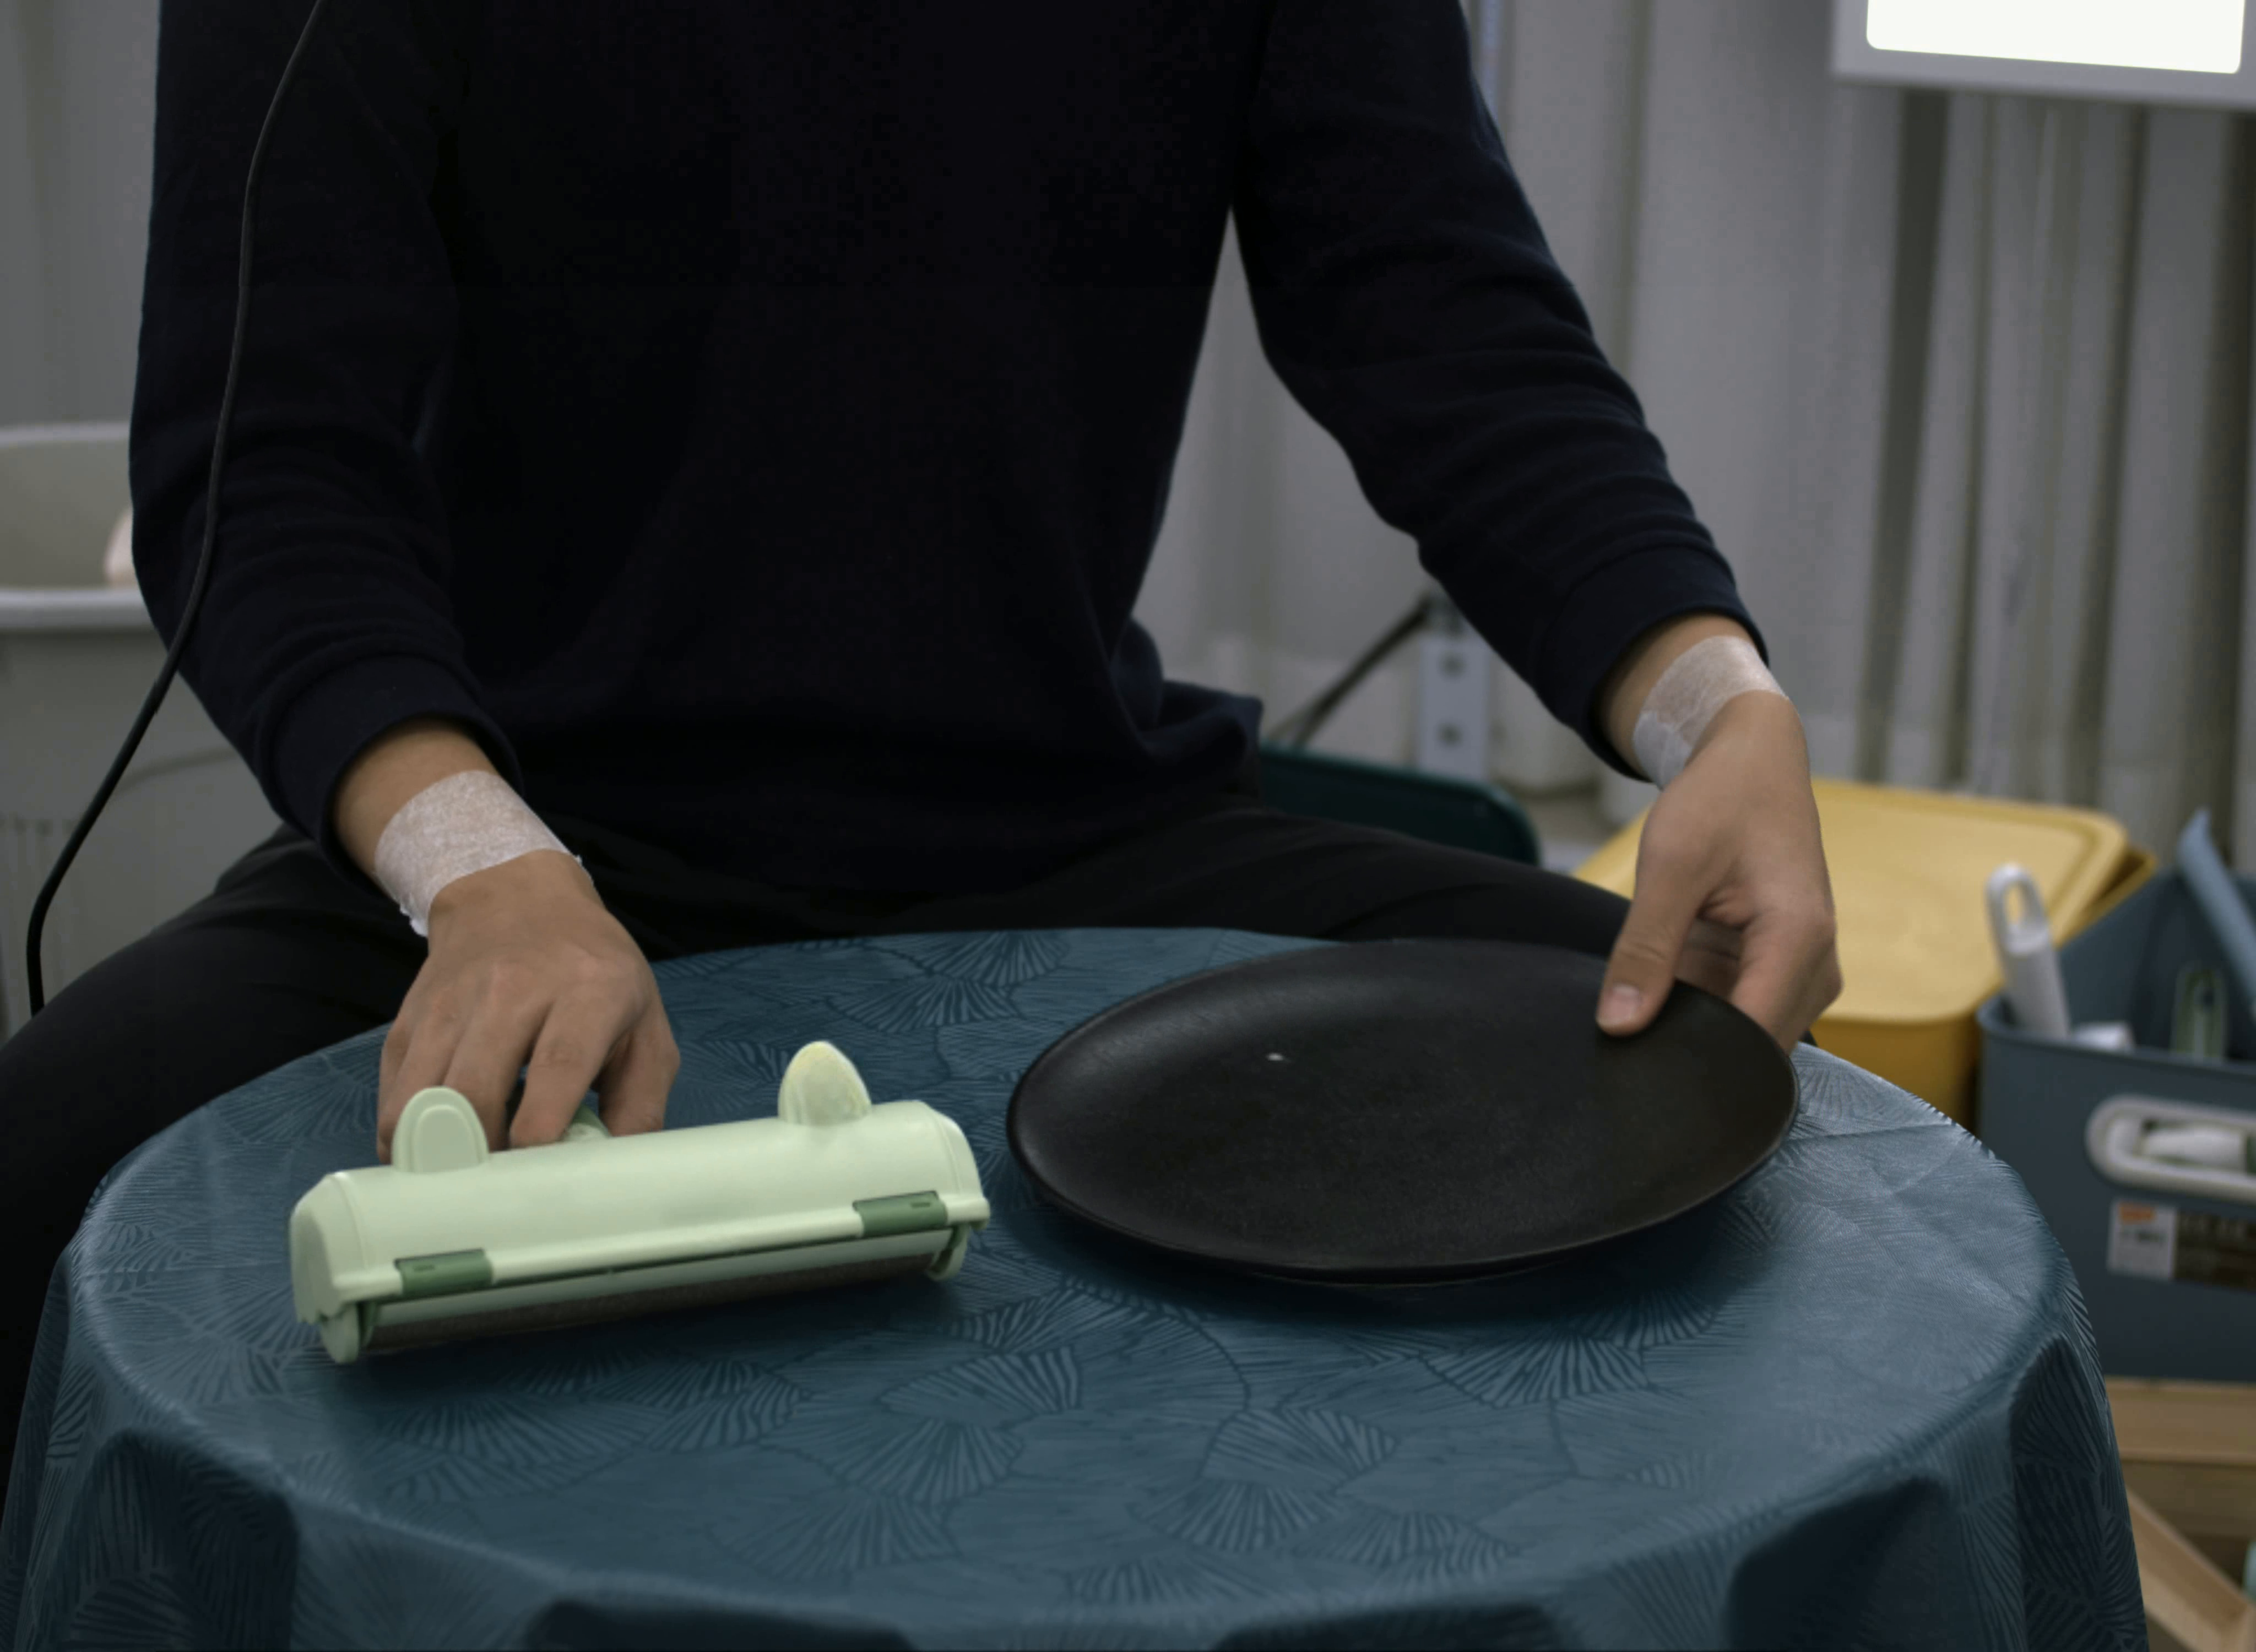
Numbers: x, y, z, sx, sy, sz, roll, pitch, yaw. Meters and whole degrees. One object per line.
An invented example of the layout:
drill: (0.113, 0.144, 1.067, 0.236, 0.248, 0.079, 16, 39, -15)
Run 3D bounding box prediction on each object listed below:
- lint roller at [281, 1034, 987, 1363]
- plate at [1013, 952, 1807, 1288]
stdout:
lint roller: (-0.161, 0.086, 1.544, 0.199, 0.083, 0.181, -6, 25, -23)
plate: (0.086, 0.093, 1.617, 0.243, 0.023, 0.243, -2, 20, 1)
